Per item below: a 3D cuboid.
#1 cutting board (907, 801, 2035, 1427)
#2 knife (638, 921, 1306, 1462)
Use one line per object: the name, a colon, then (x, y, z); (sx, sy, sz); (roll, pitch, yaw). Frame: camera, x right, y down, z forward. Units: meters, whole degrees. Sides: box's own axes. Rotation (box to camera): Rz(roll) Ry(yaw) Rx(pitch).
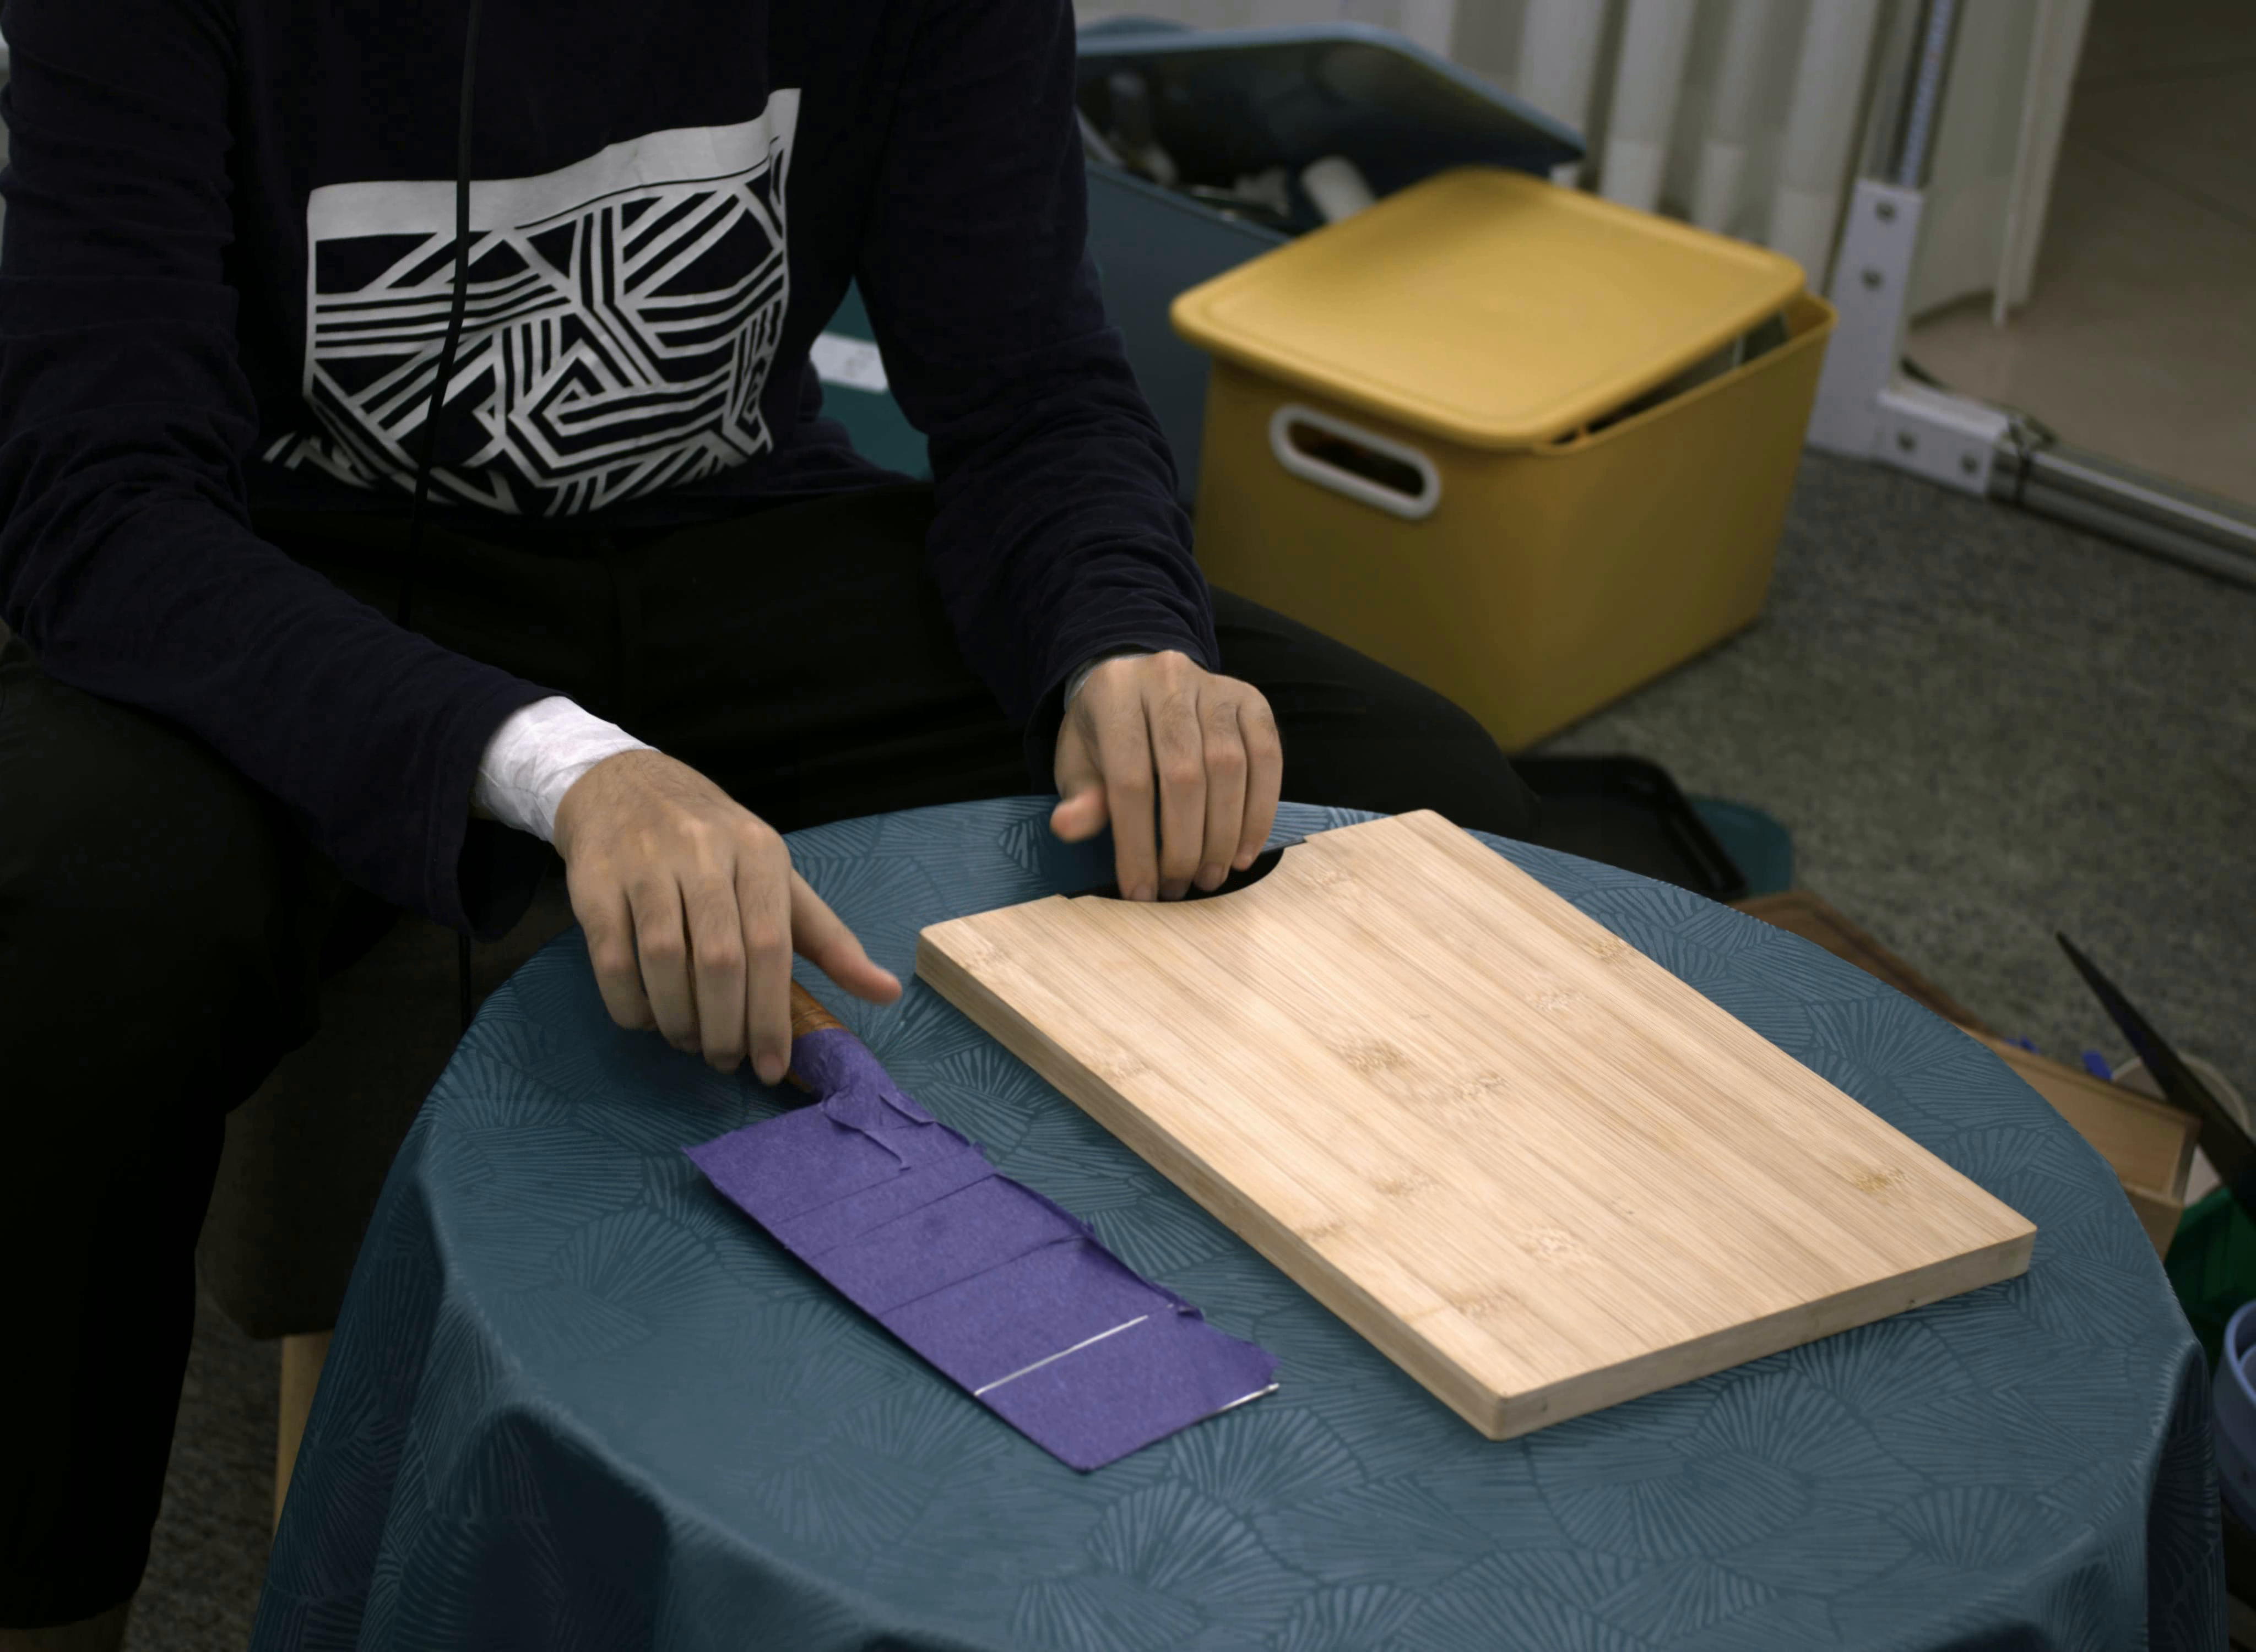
cutting board: (0.114, 0.093, 1.874); (0.249, 0.023, 0.352); (-13, 32, -34)
knife: (-0.081, 0.117, 1.770); (0.103, 0.032, 0.318); (-17, 36, -39)
